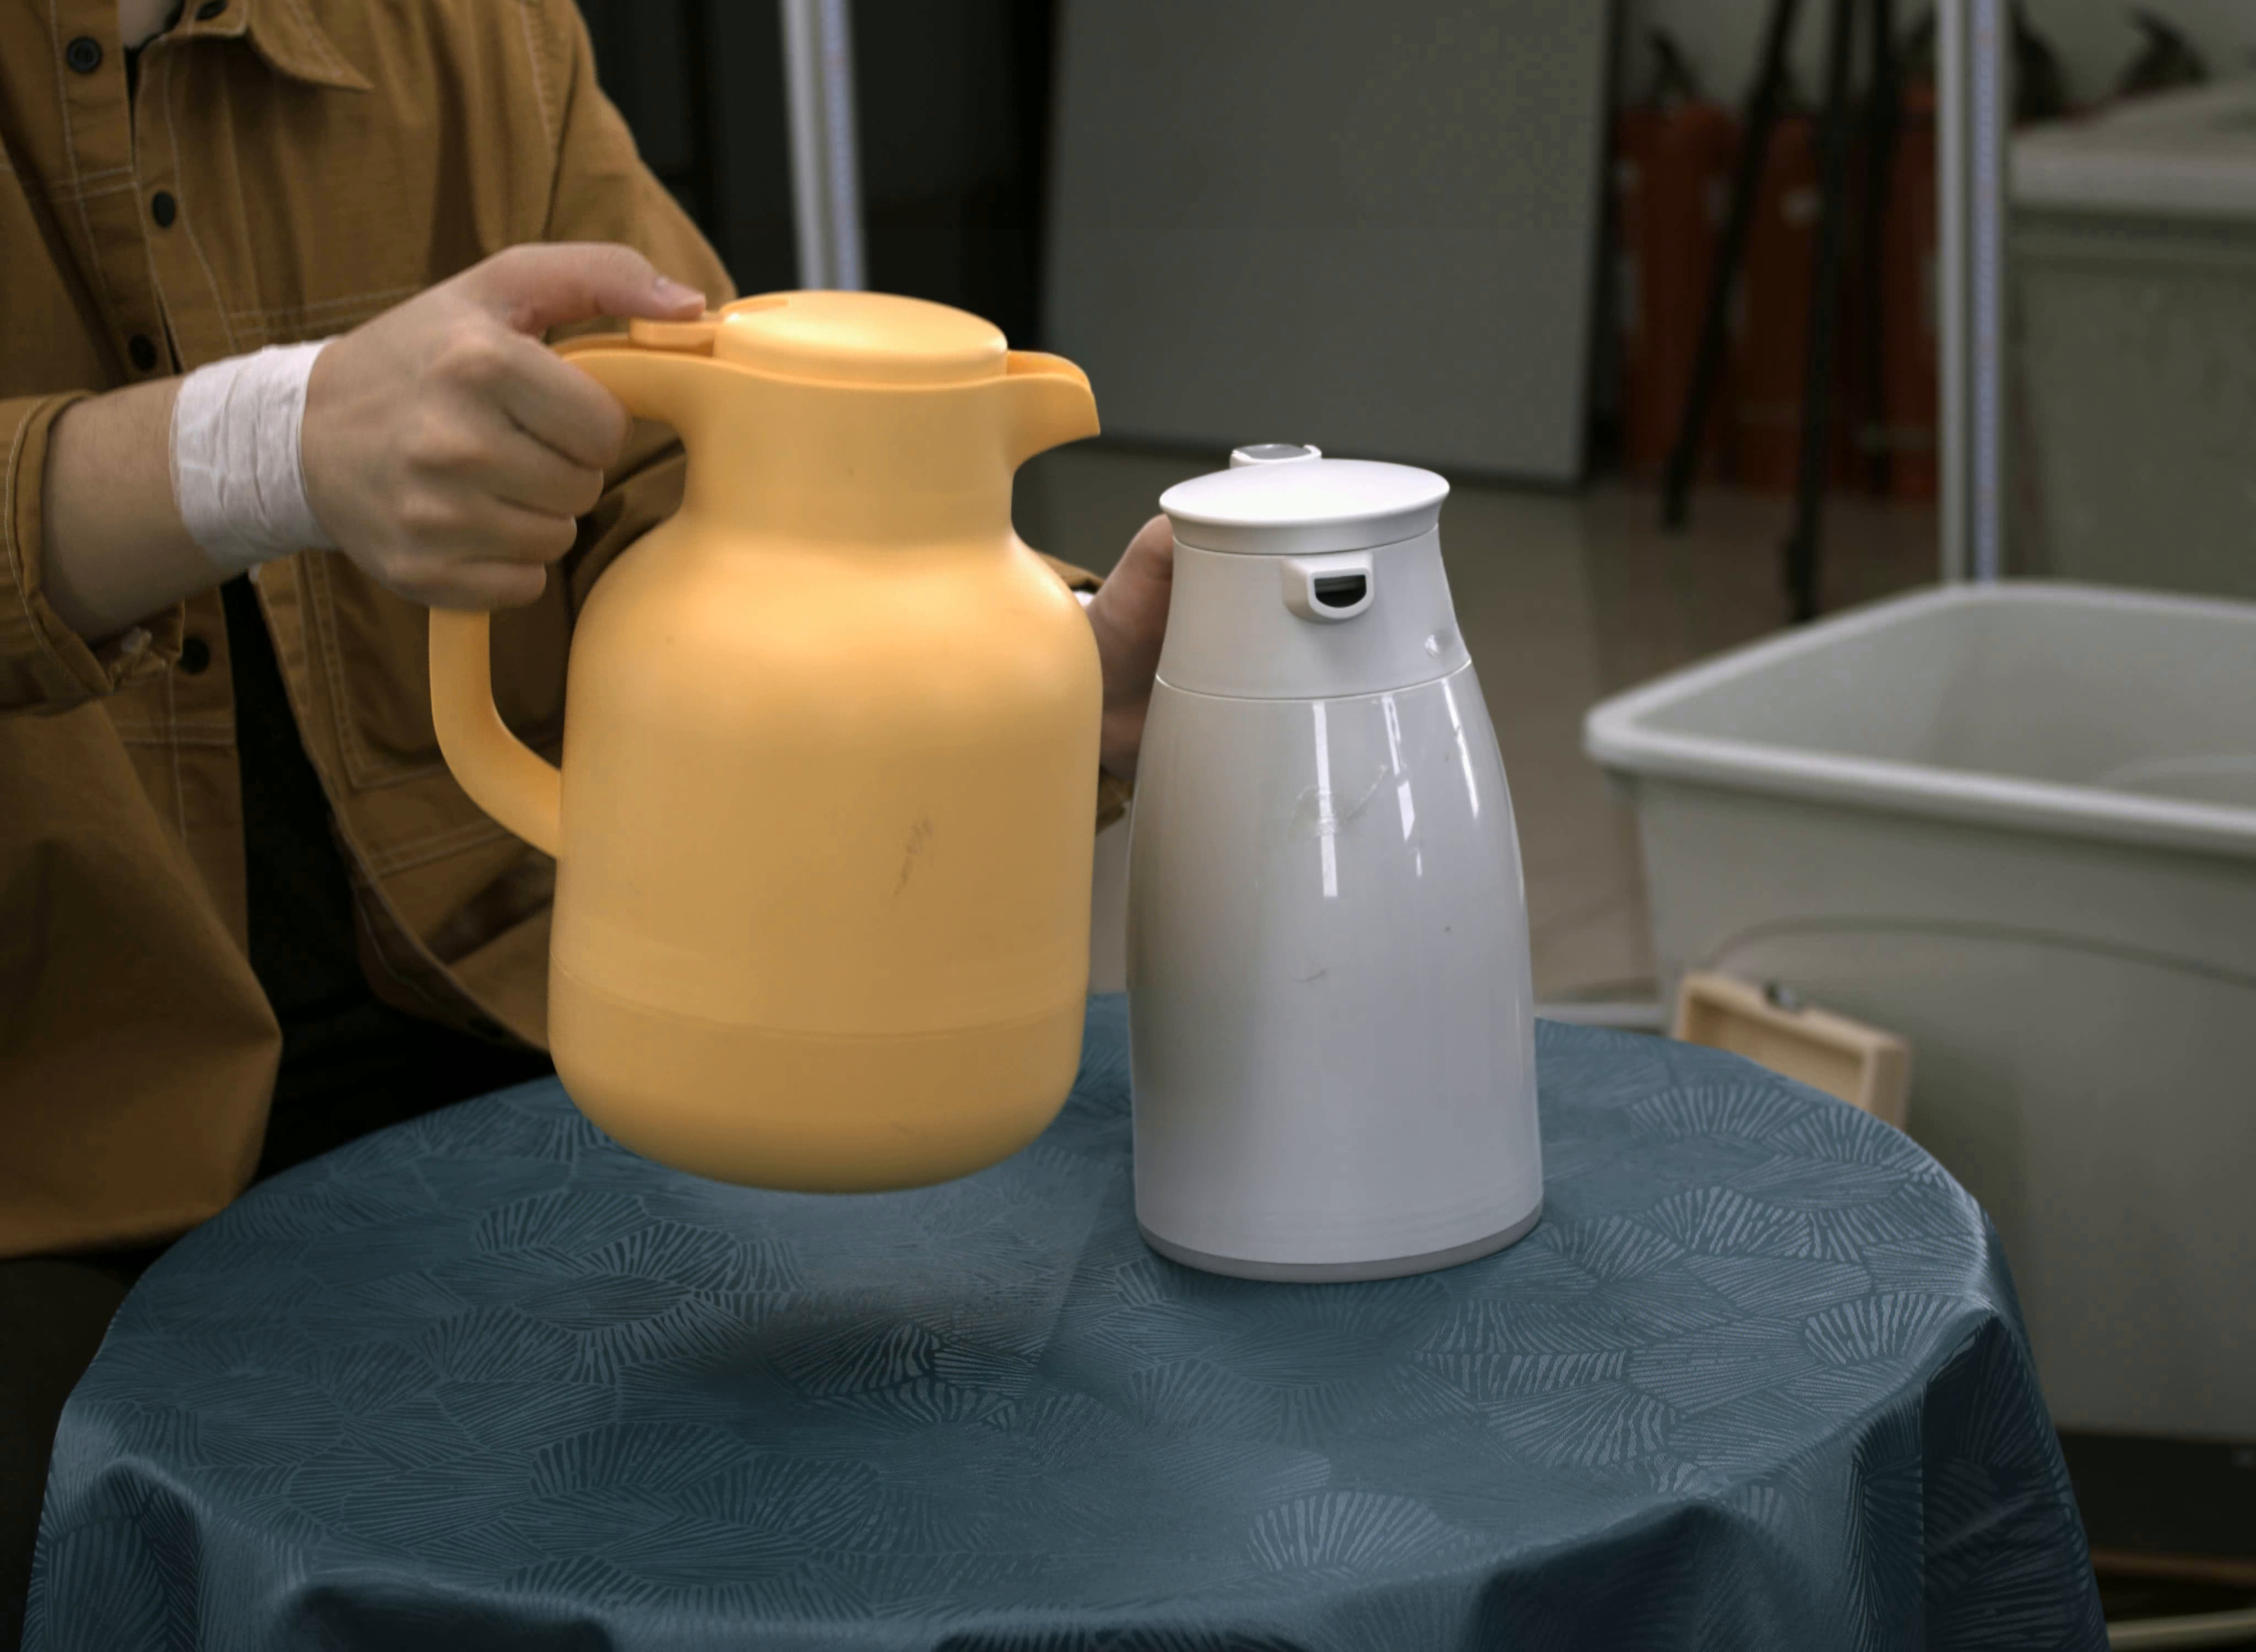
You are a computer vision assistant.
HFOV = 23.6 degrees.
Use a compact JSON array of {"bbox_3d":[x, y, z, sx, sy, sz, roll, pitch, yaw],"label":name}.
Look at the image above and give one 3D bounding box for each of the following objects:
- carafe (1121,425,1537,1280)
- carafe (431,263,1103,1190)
[{"bbox_3d":[0.056,0.001,1.723,0.130,0.251,0.168,-5,13,-7],"label":"carafe"},{"bbox_3d":[-0.107,-0.035,1.607,0.199,0.263,0.164,4,12,-3],"label":"carafe"}]
